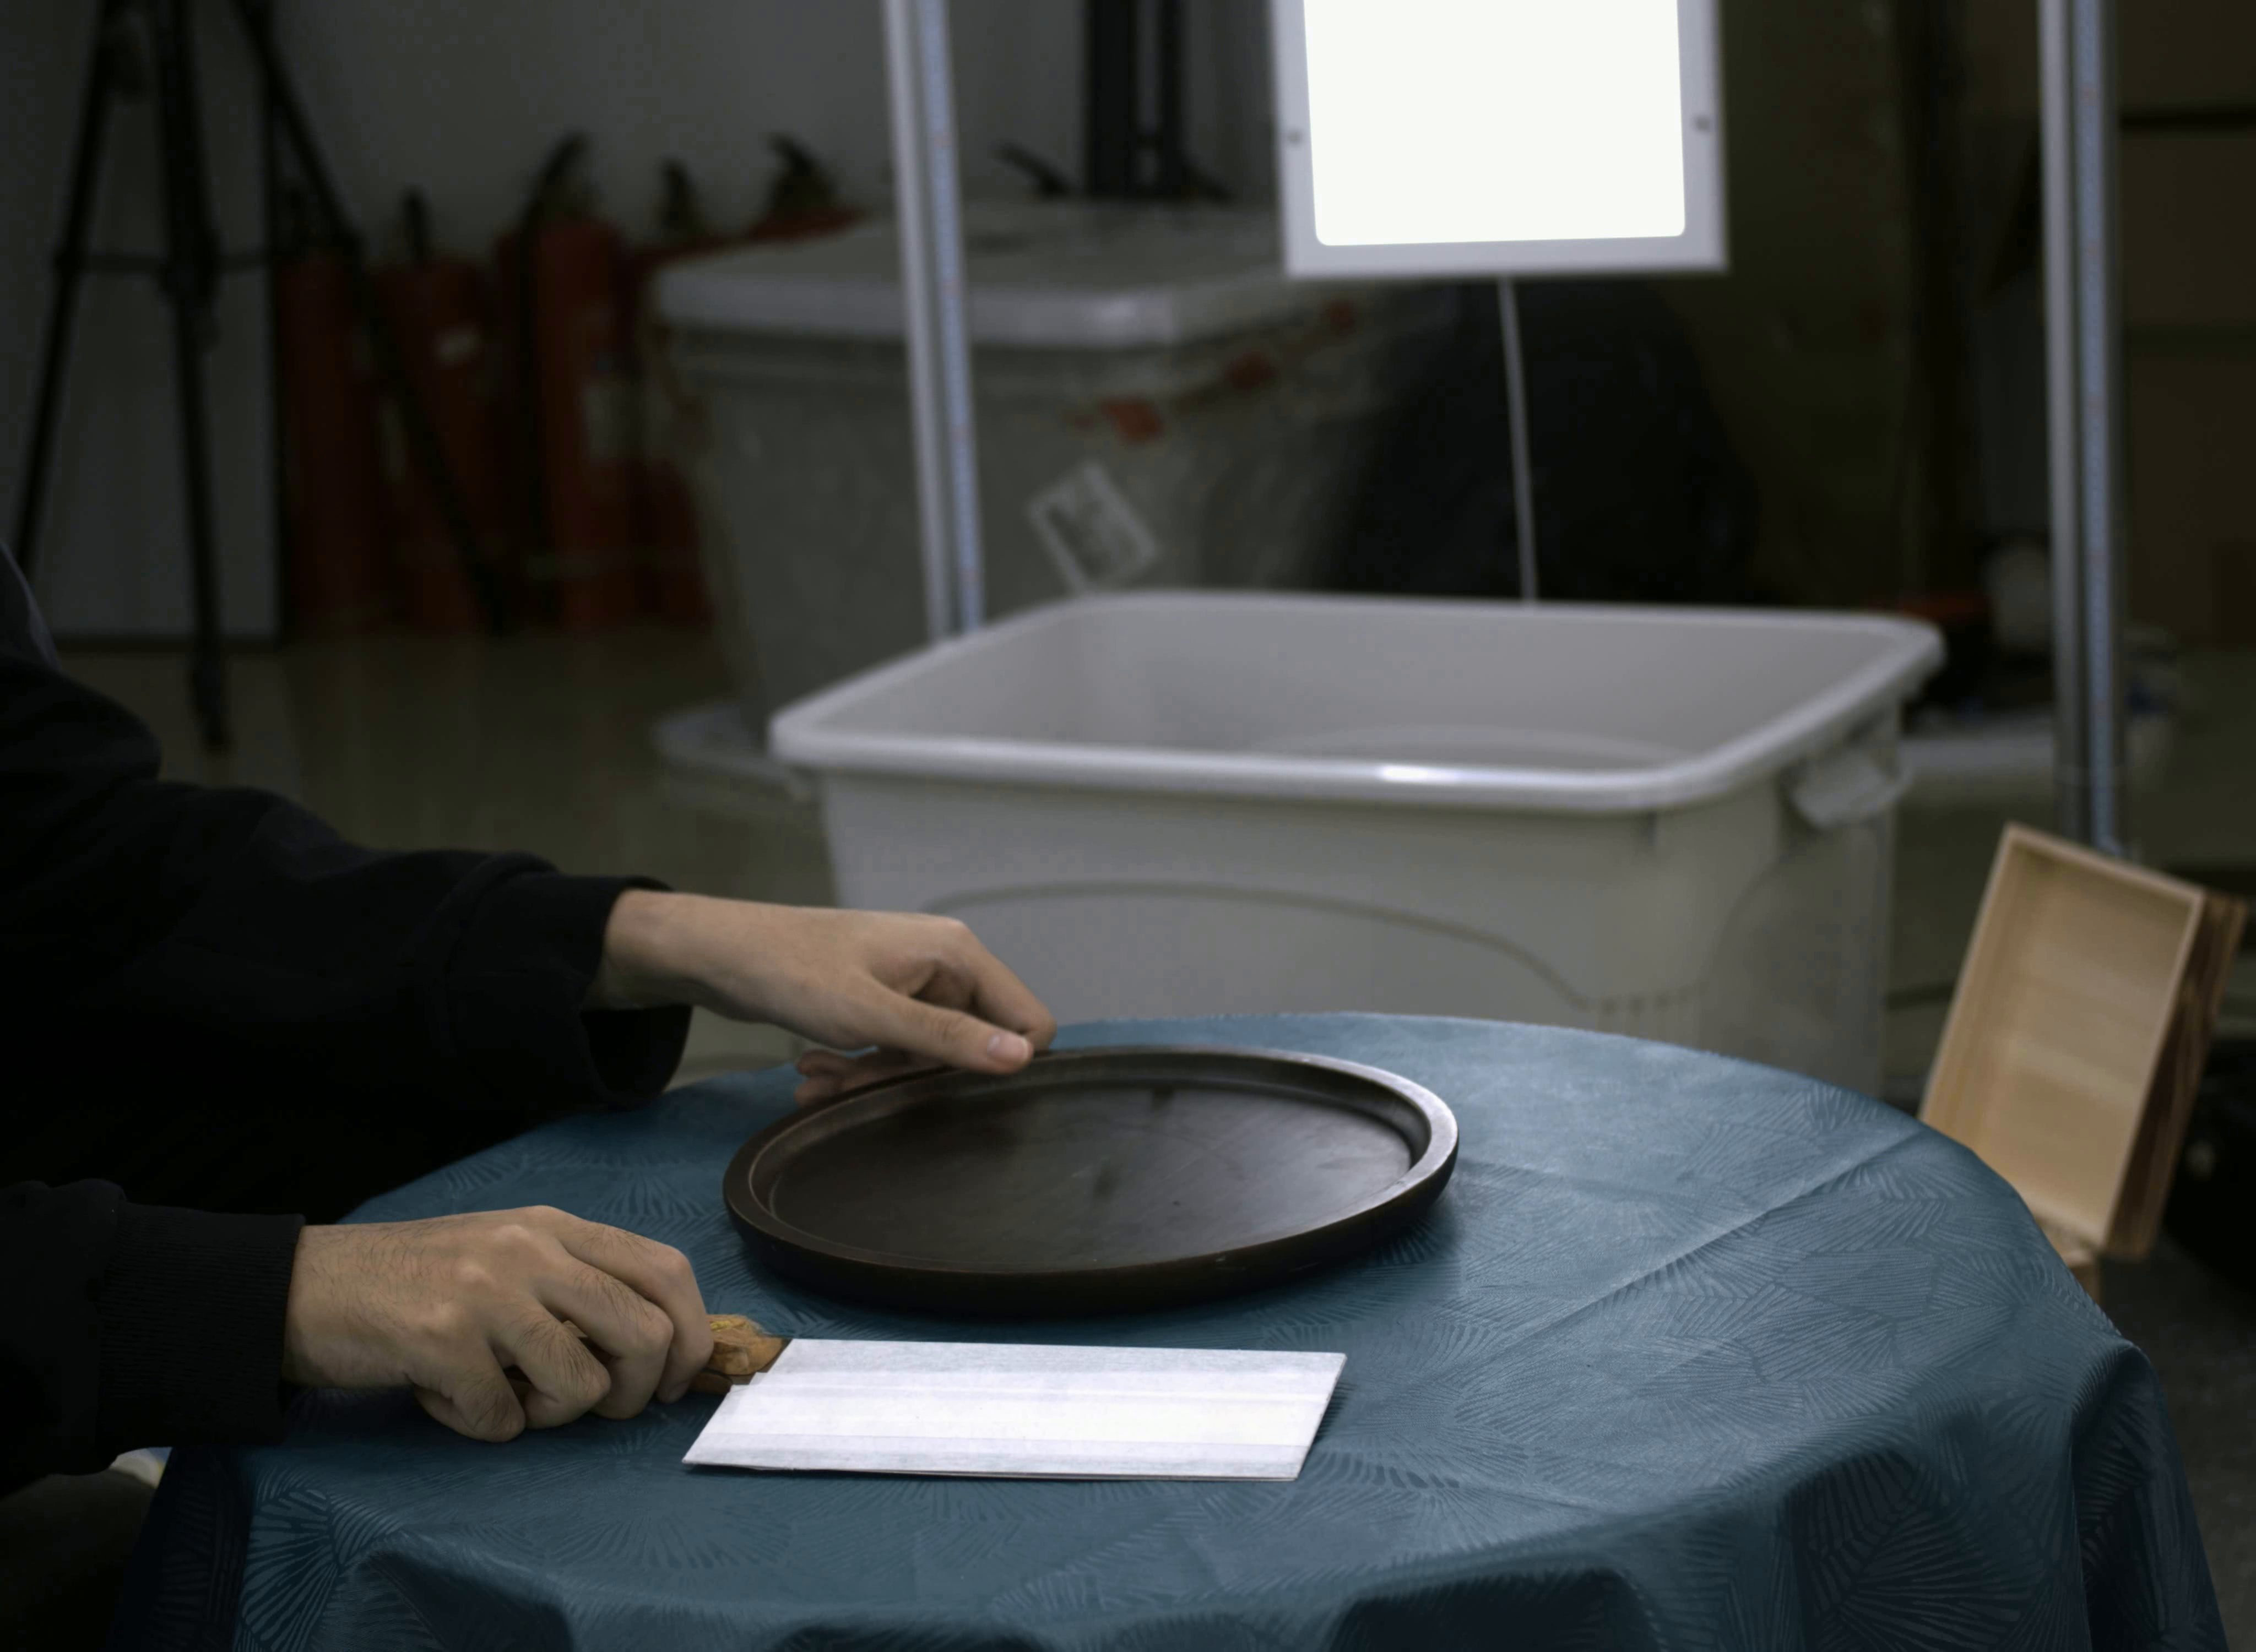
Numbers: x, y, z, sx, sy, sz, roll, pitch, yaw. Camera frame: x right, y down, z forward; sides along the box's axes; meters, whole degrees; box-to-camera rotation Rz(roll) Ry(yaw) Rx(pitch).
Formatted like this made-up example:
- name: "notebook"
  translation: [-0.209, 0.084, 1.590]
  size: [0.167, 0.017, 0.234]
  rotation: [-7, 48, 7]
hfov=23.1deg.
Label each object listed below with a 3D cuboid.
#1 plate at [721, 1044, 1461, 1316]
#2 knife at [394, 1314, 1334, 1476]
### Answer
- name: "plate"
  translation: [-0.012, 0.119, 1.879]
  size: [0.254, 0.029, 0.254]
  rotation: [-4, 13, 0]
- name: "knife"
  translation: [-0.089, 0.177, 1.696]
  size: [0.308, 0.021, 0.091]
  rotation: [0, 20, 15]
